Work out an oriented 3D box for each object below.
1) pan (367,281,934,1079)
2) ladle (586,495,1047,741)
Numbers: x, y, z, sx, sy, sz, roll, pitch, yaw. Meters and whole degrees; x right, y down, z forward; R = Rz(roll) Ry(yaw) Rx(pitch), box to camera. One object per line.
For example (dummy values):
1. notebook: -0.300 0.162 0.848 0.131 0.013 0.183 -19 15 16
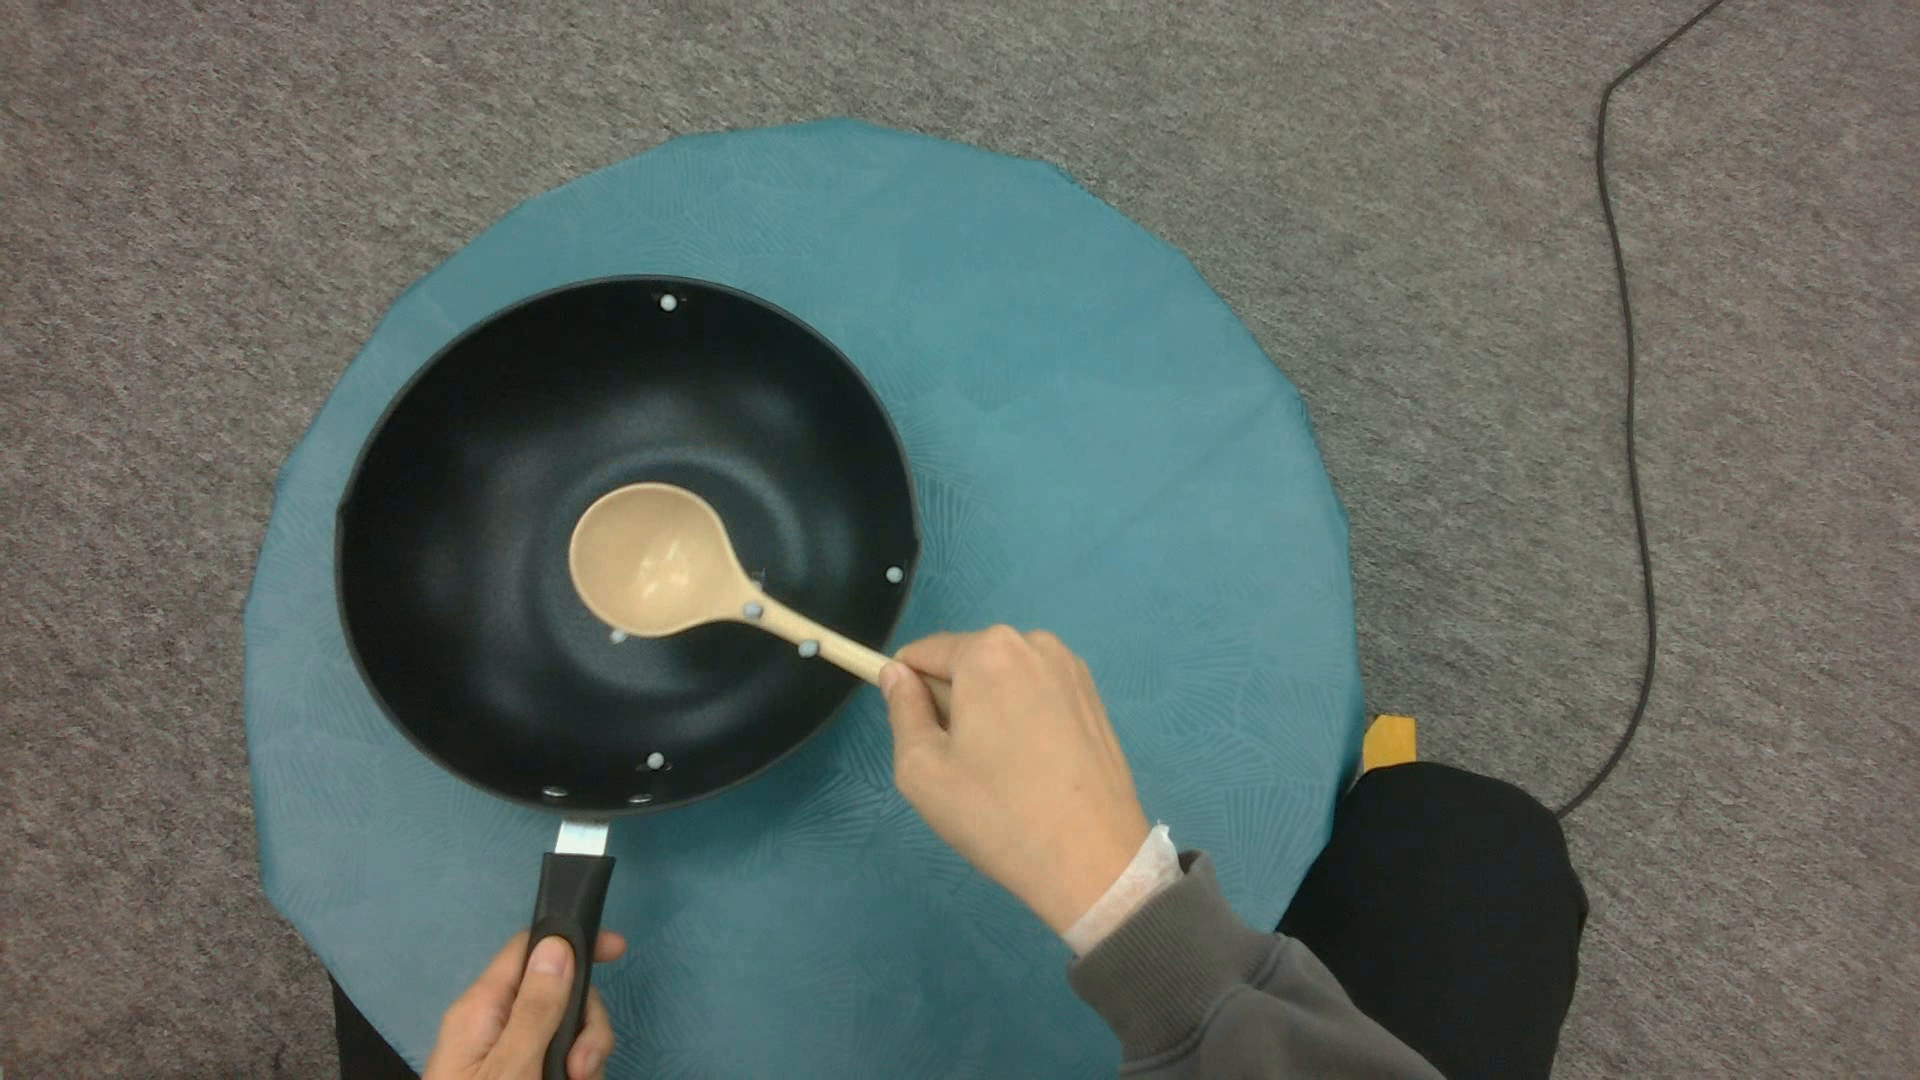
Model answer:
1. pan: -0.164 0.095 0.698 0.288 0.086 0.464 5 73 2
2. ladle: -0.076 0.035 0.612 0.254 0.073 0.072 16 76 43
